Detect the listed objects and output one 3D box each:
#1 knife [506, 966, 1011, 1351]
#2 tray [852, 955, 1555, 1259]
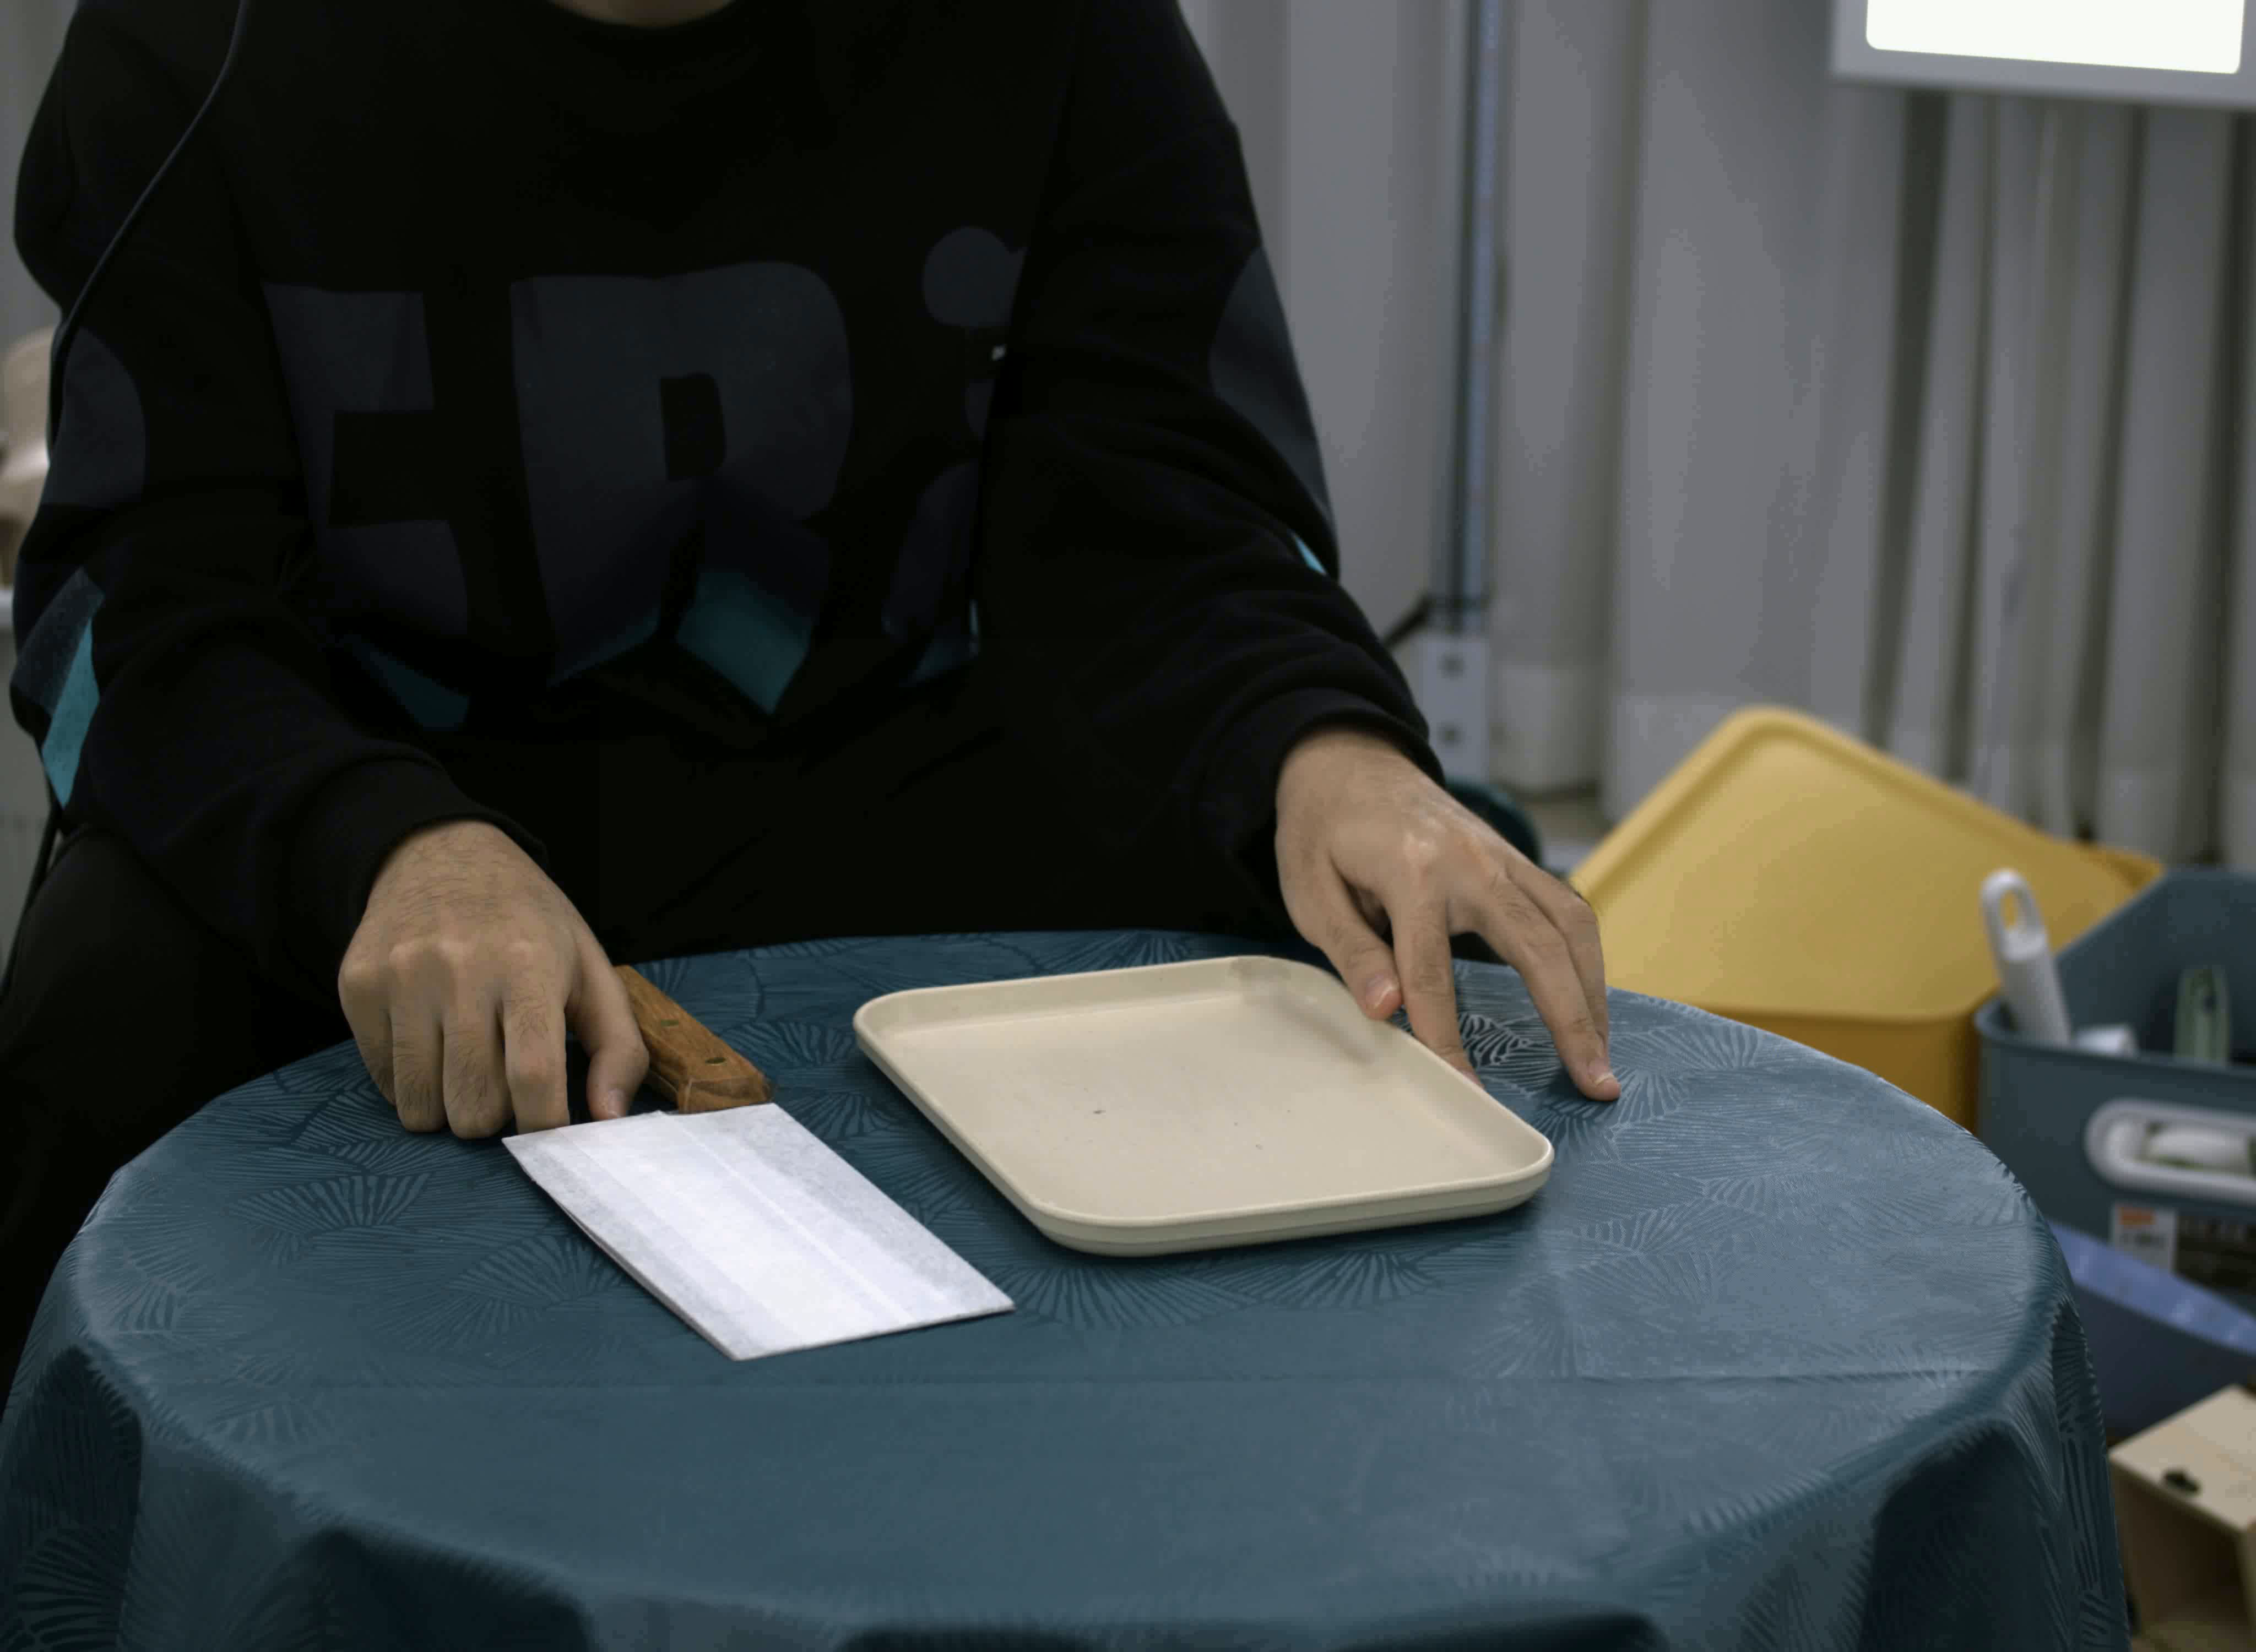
[{"bbox_3d":[-0.138,0.102,1.628,0.093,0.021,0.302,-9,20,-25],"label":"knife"},{"bbox_3d":[0.020,0.088,1.675,0.171,0.017,0.237,-6,17,-19],"label":"tray"}]
